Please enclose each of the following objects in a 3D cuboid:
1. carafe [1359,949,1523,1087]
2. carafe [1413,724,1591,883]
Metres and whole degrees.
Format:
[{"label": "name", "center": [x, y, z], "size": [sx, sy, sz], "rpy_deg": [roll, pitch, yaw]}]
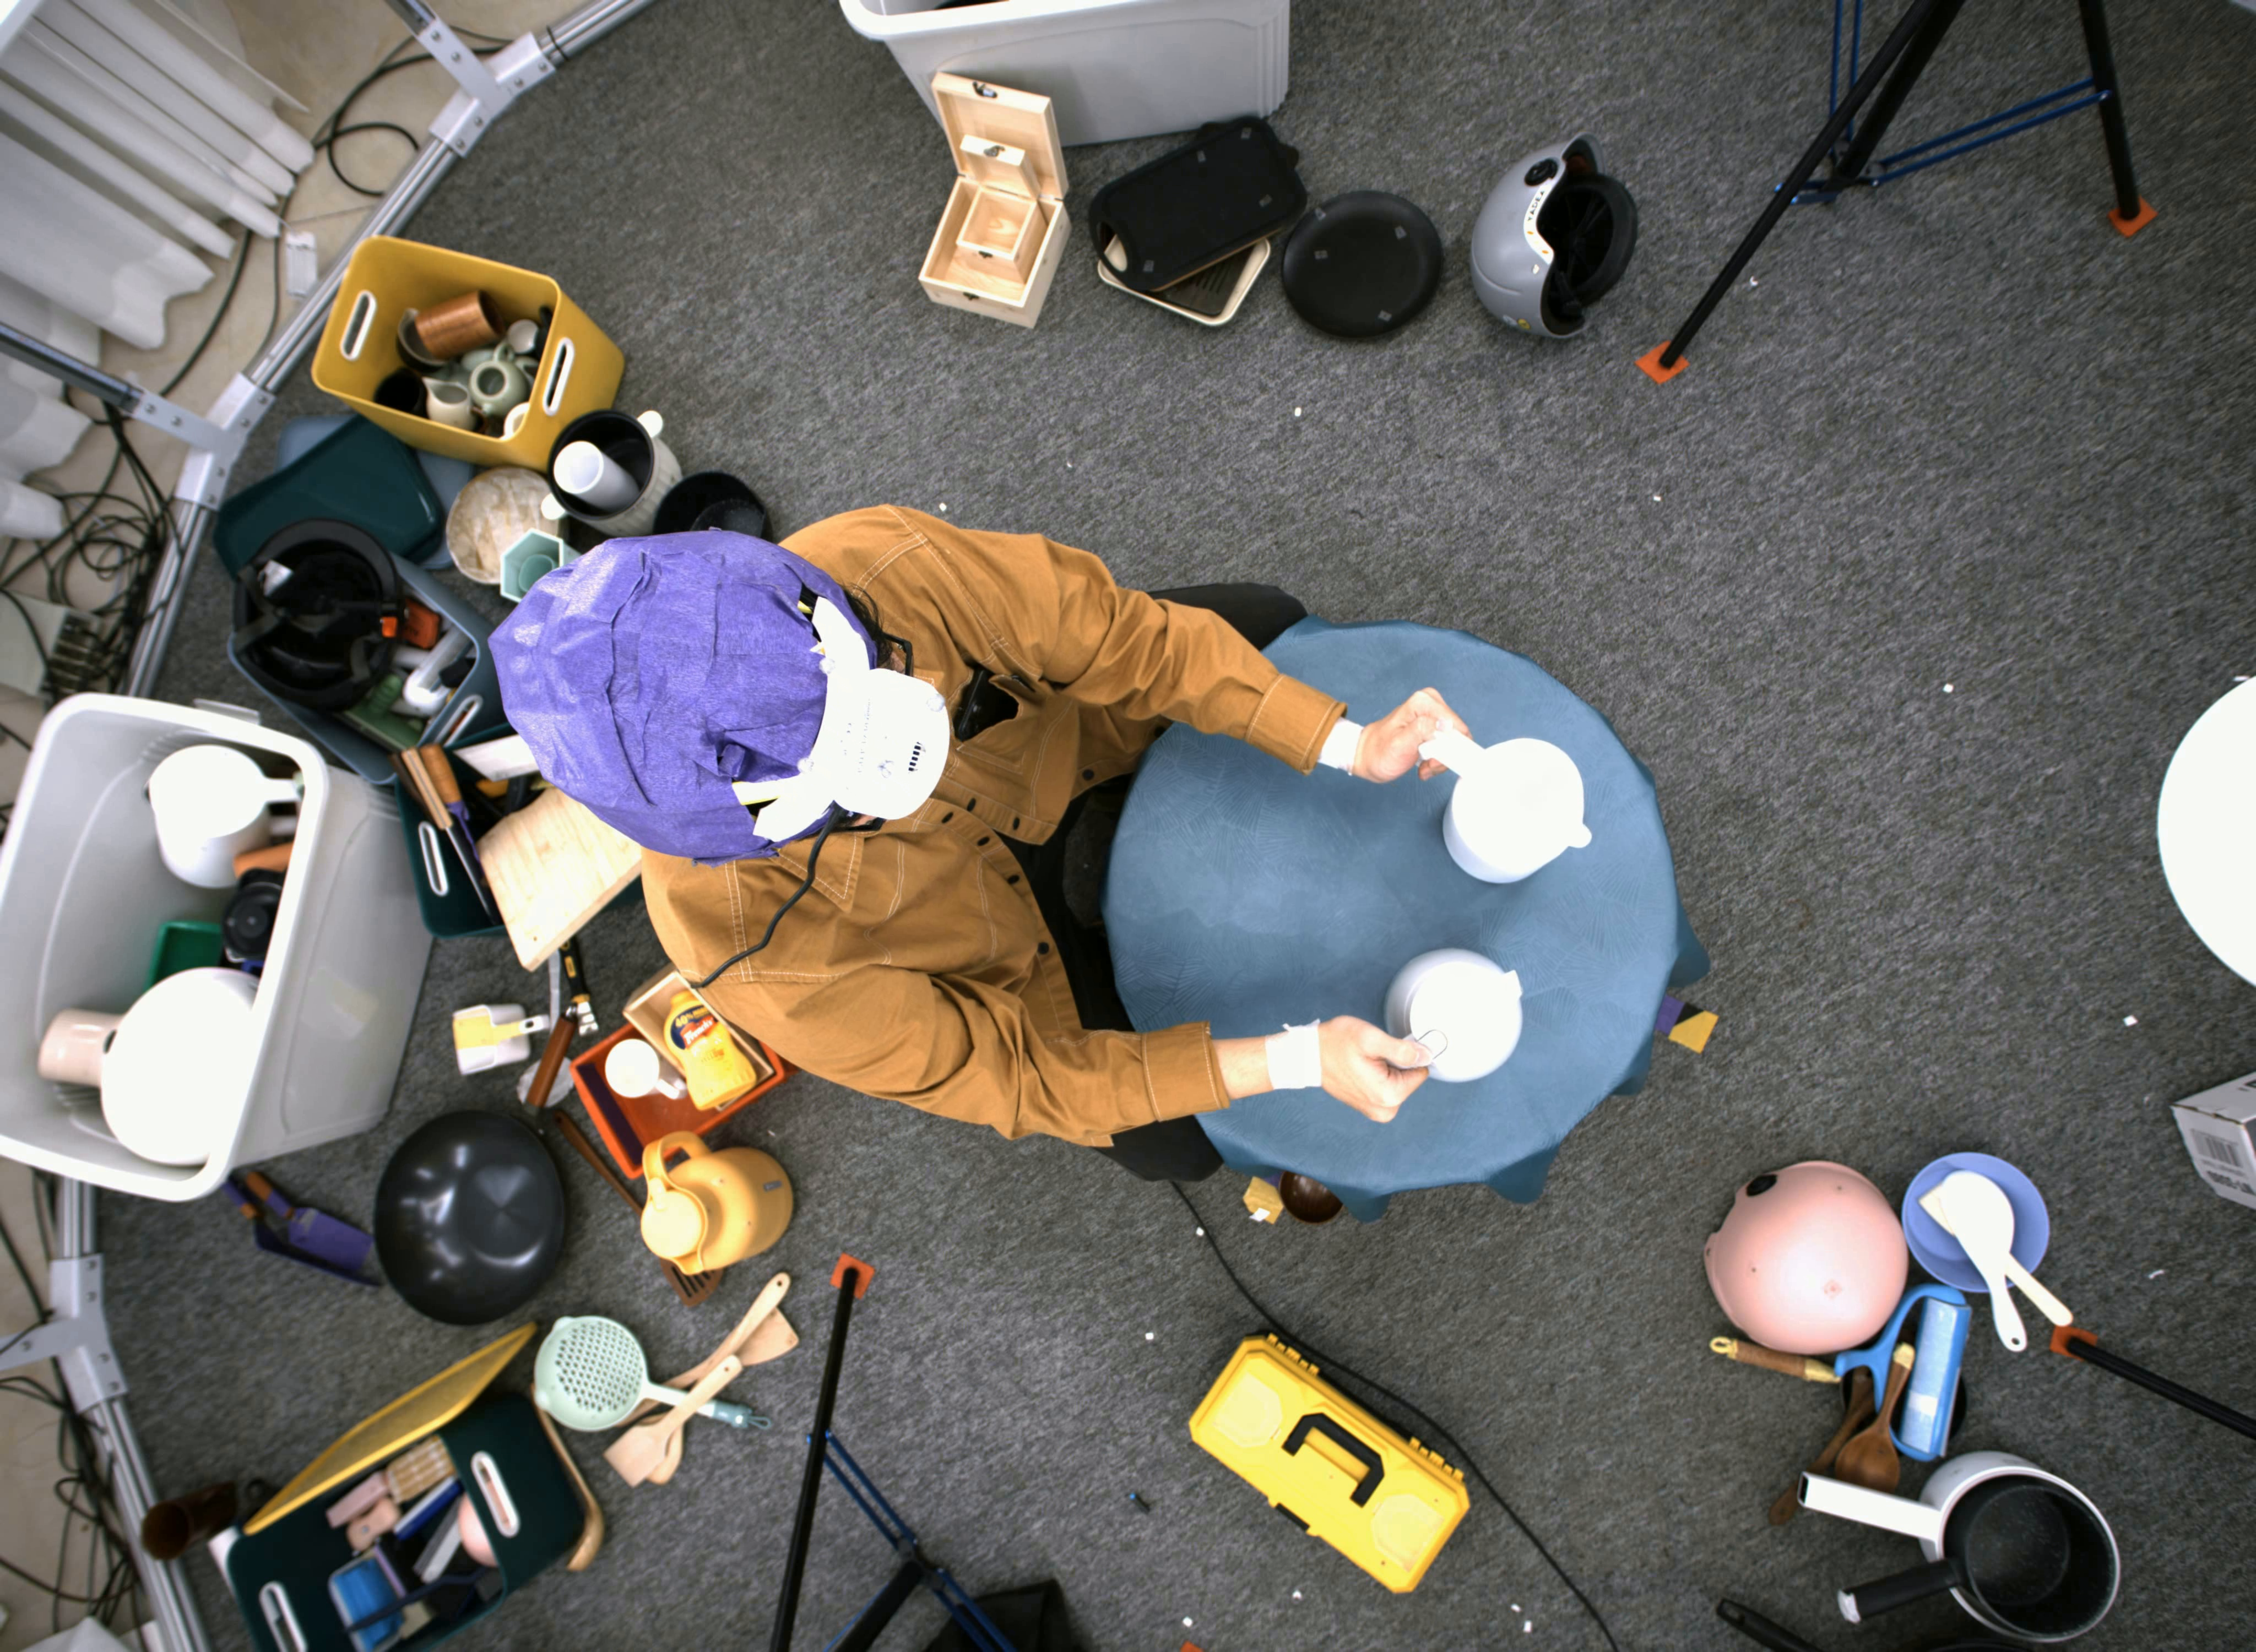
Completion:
[{"label": "carafe", "center": [0.298, 0.193, 1.324], "size": [0.169, 0.249, 0.131], "rpy_deg": [-36, 80, 6]}, {"label": "carafe", "center": [0.351, -0.022, 1.315], "size": [0.172, 0.269, 0.124], "rpy_deg": [36, 94, 12]}]
